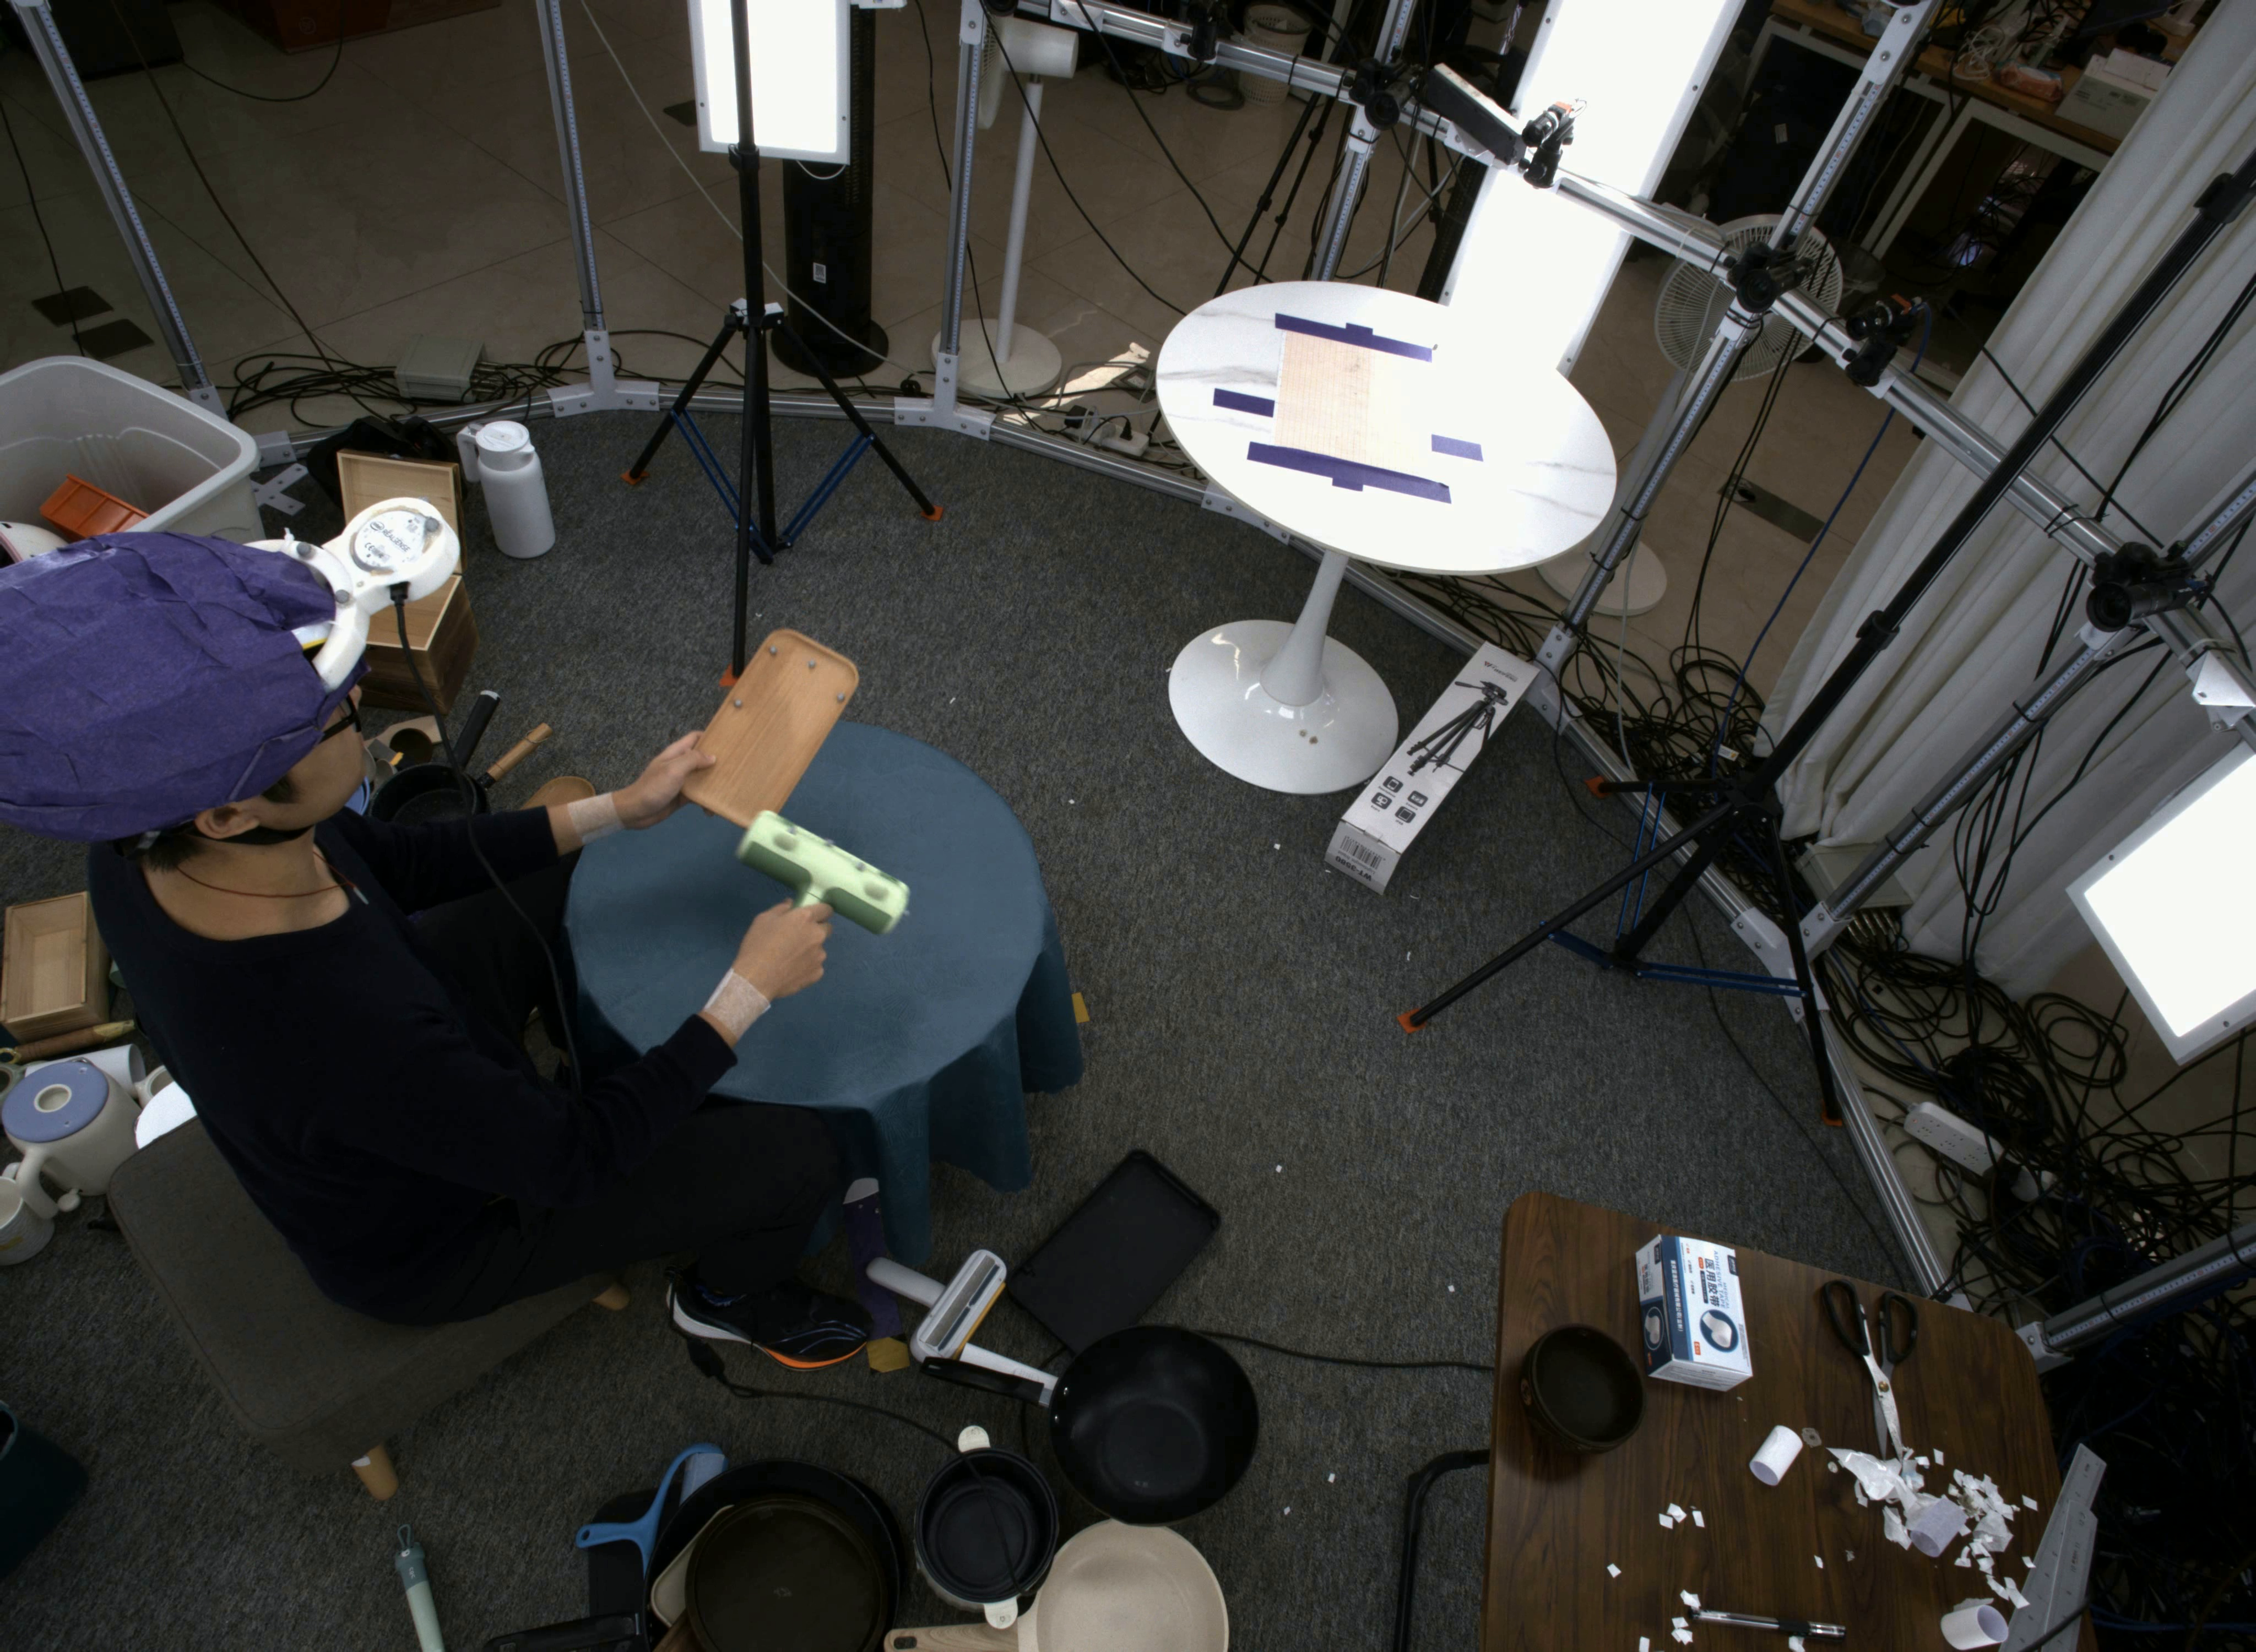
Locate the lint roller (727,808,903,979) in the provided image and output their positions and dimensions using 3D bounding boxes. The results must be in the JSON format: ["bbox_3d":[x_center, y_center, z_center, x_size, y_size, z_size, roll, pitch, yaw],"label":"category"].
[{"bbox_3d":[-0.354,0.080,1.425,0.202,0.082,0.180,29,38,-19],"label":"lint roller"}]

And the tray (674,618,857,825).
[{"bbox_3d":[-0.429,-0.125,1.537,0.130,0.023,0.250,28,70,-4],"label":"tray"}]
